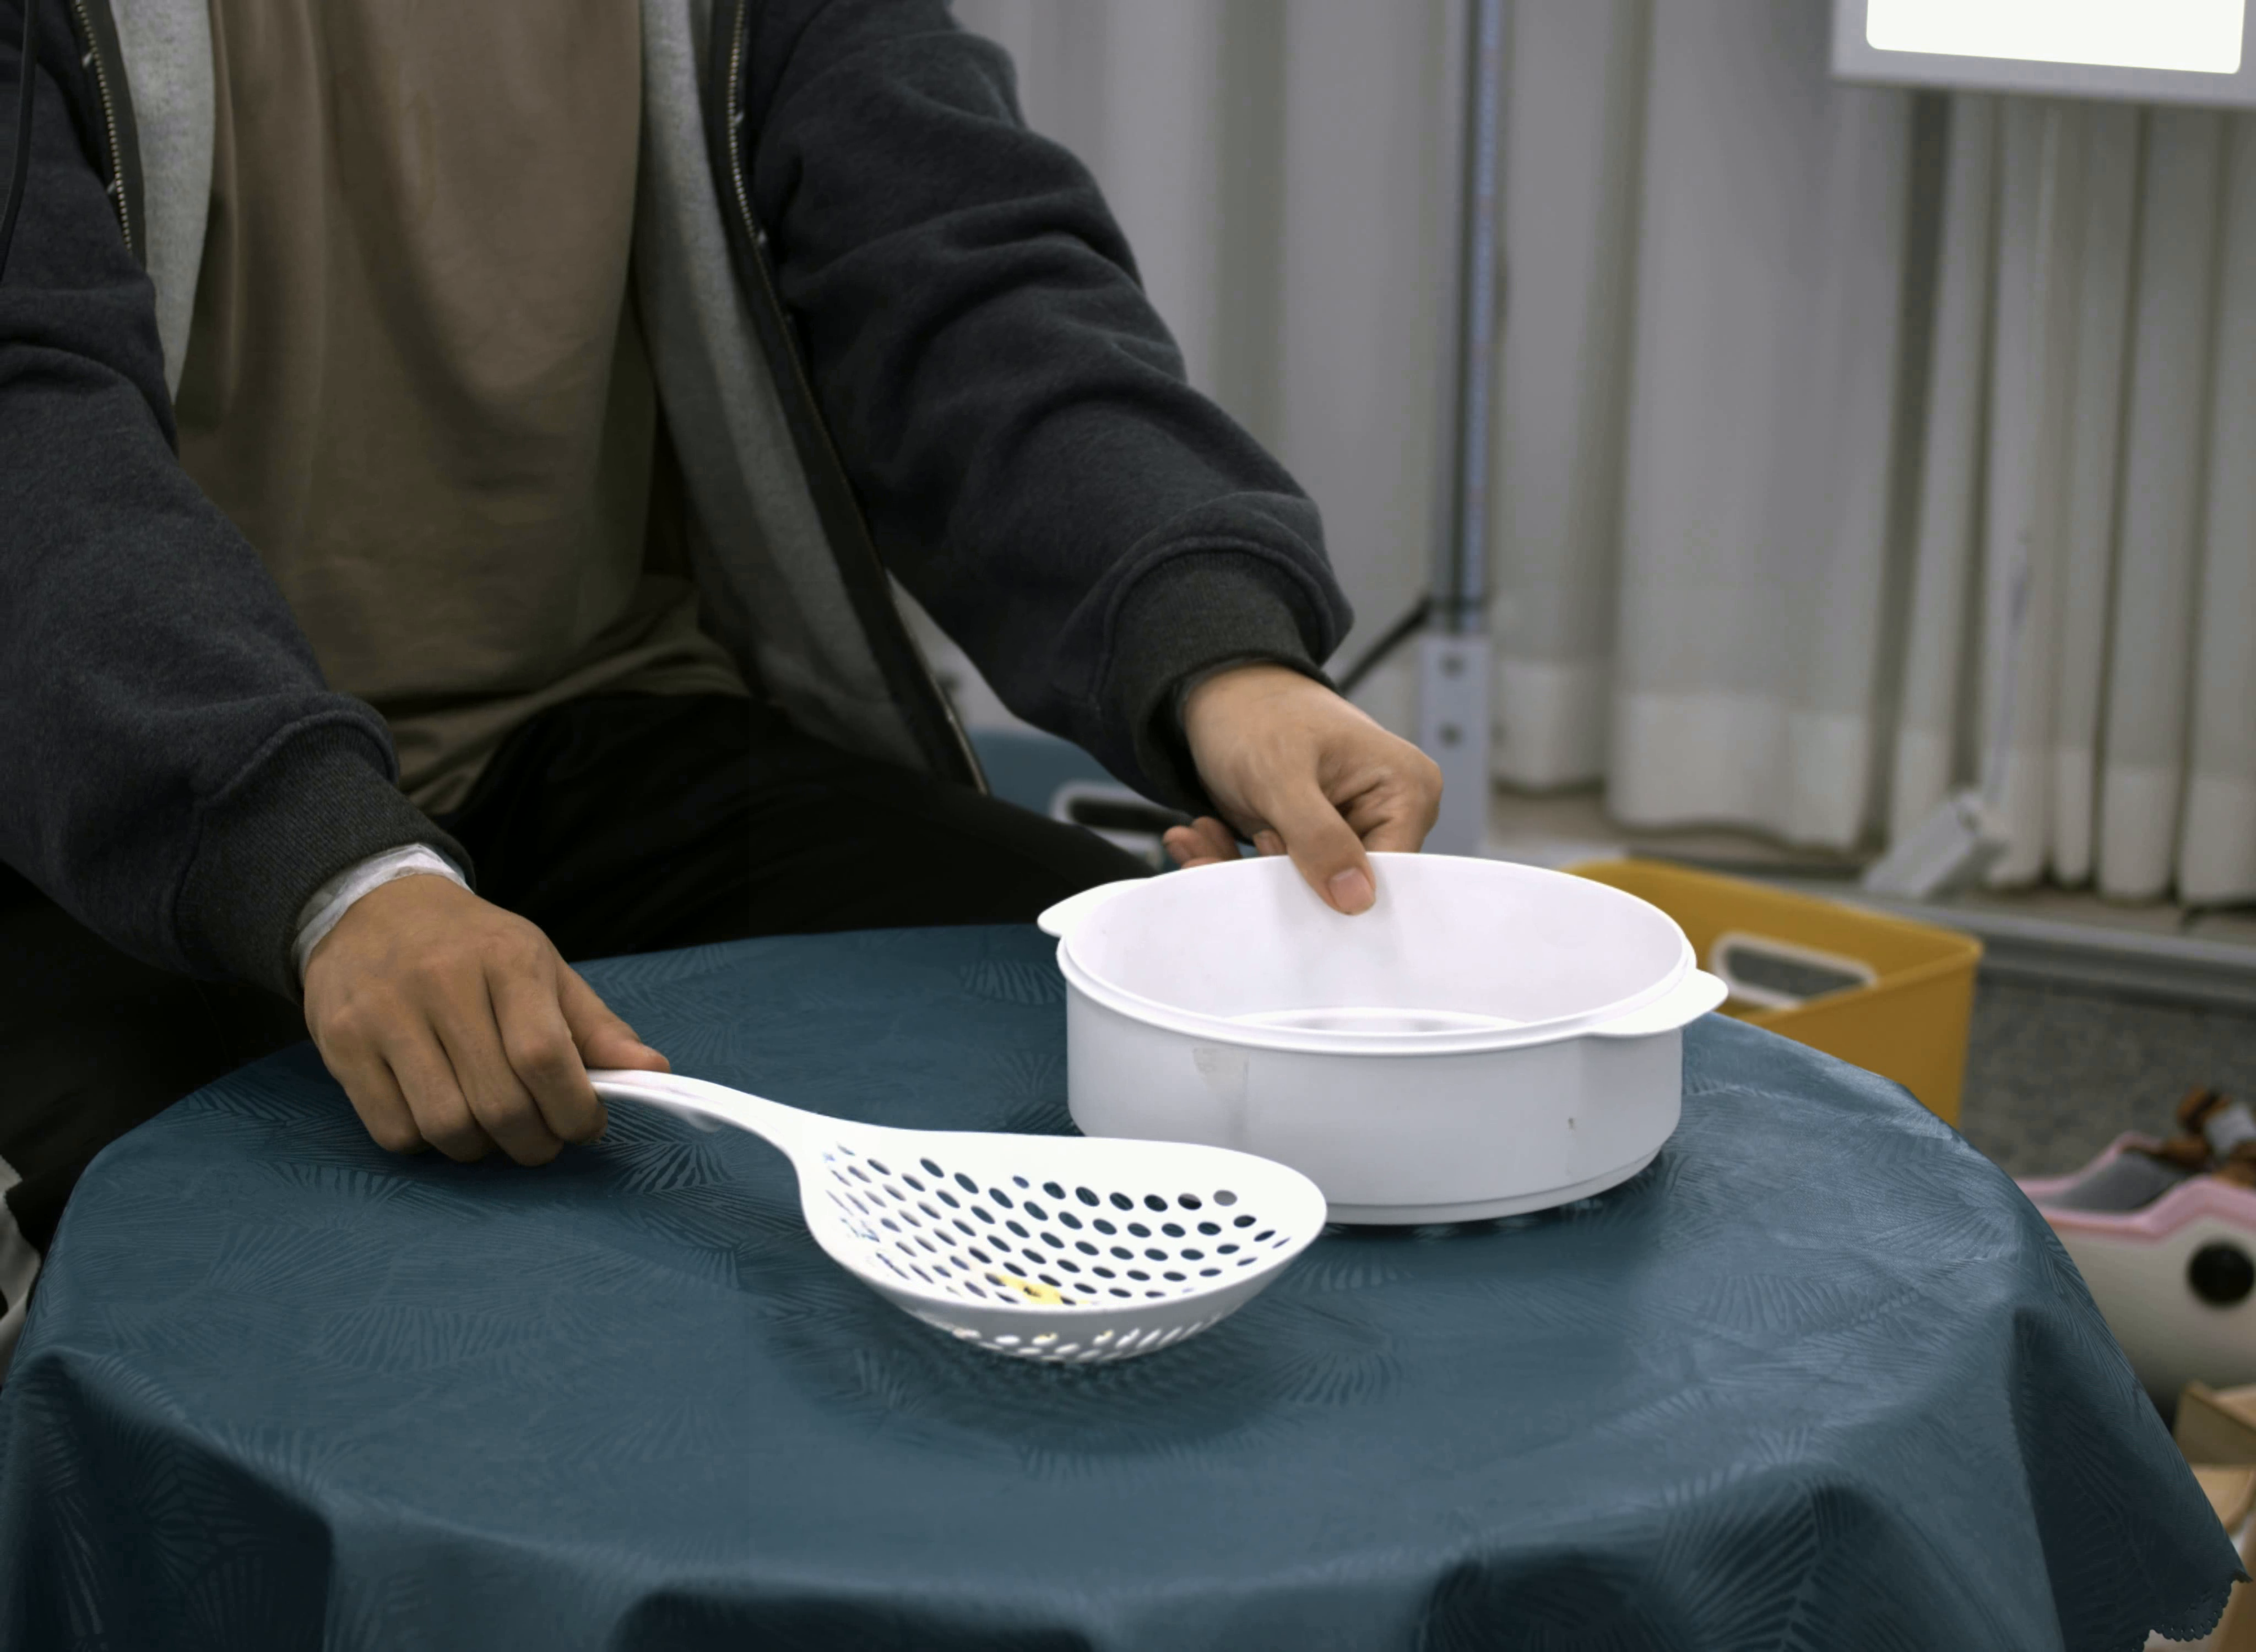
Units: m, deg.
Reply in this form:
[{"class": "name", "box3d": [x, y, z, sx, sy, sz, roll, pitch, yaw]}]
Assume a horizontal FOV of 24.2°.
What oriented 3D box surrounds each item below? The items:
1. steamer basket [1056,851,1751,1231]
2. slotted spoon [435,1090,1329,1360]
[{"class": "steamer basket", "box3d": [0.083, 0.067, 1.659, 0.228, 0.070, 0.202, 12, 19, 29]}, {"class": "slotted spoon", "box3d": [-0.089, 0.105, 1.565, 0.343, 0.051, 0.137, 16, 27, 41]}]
